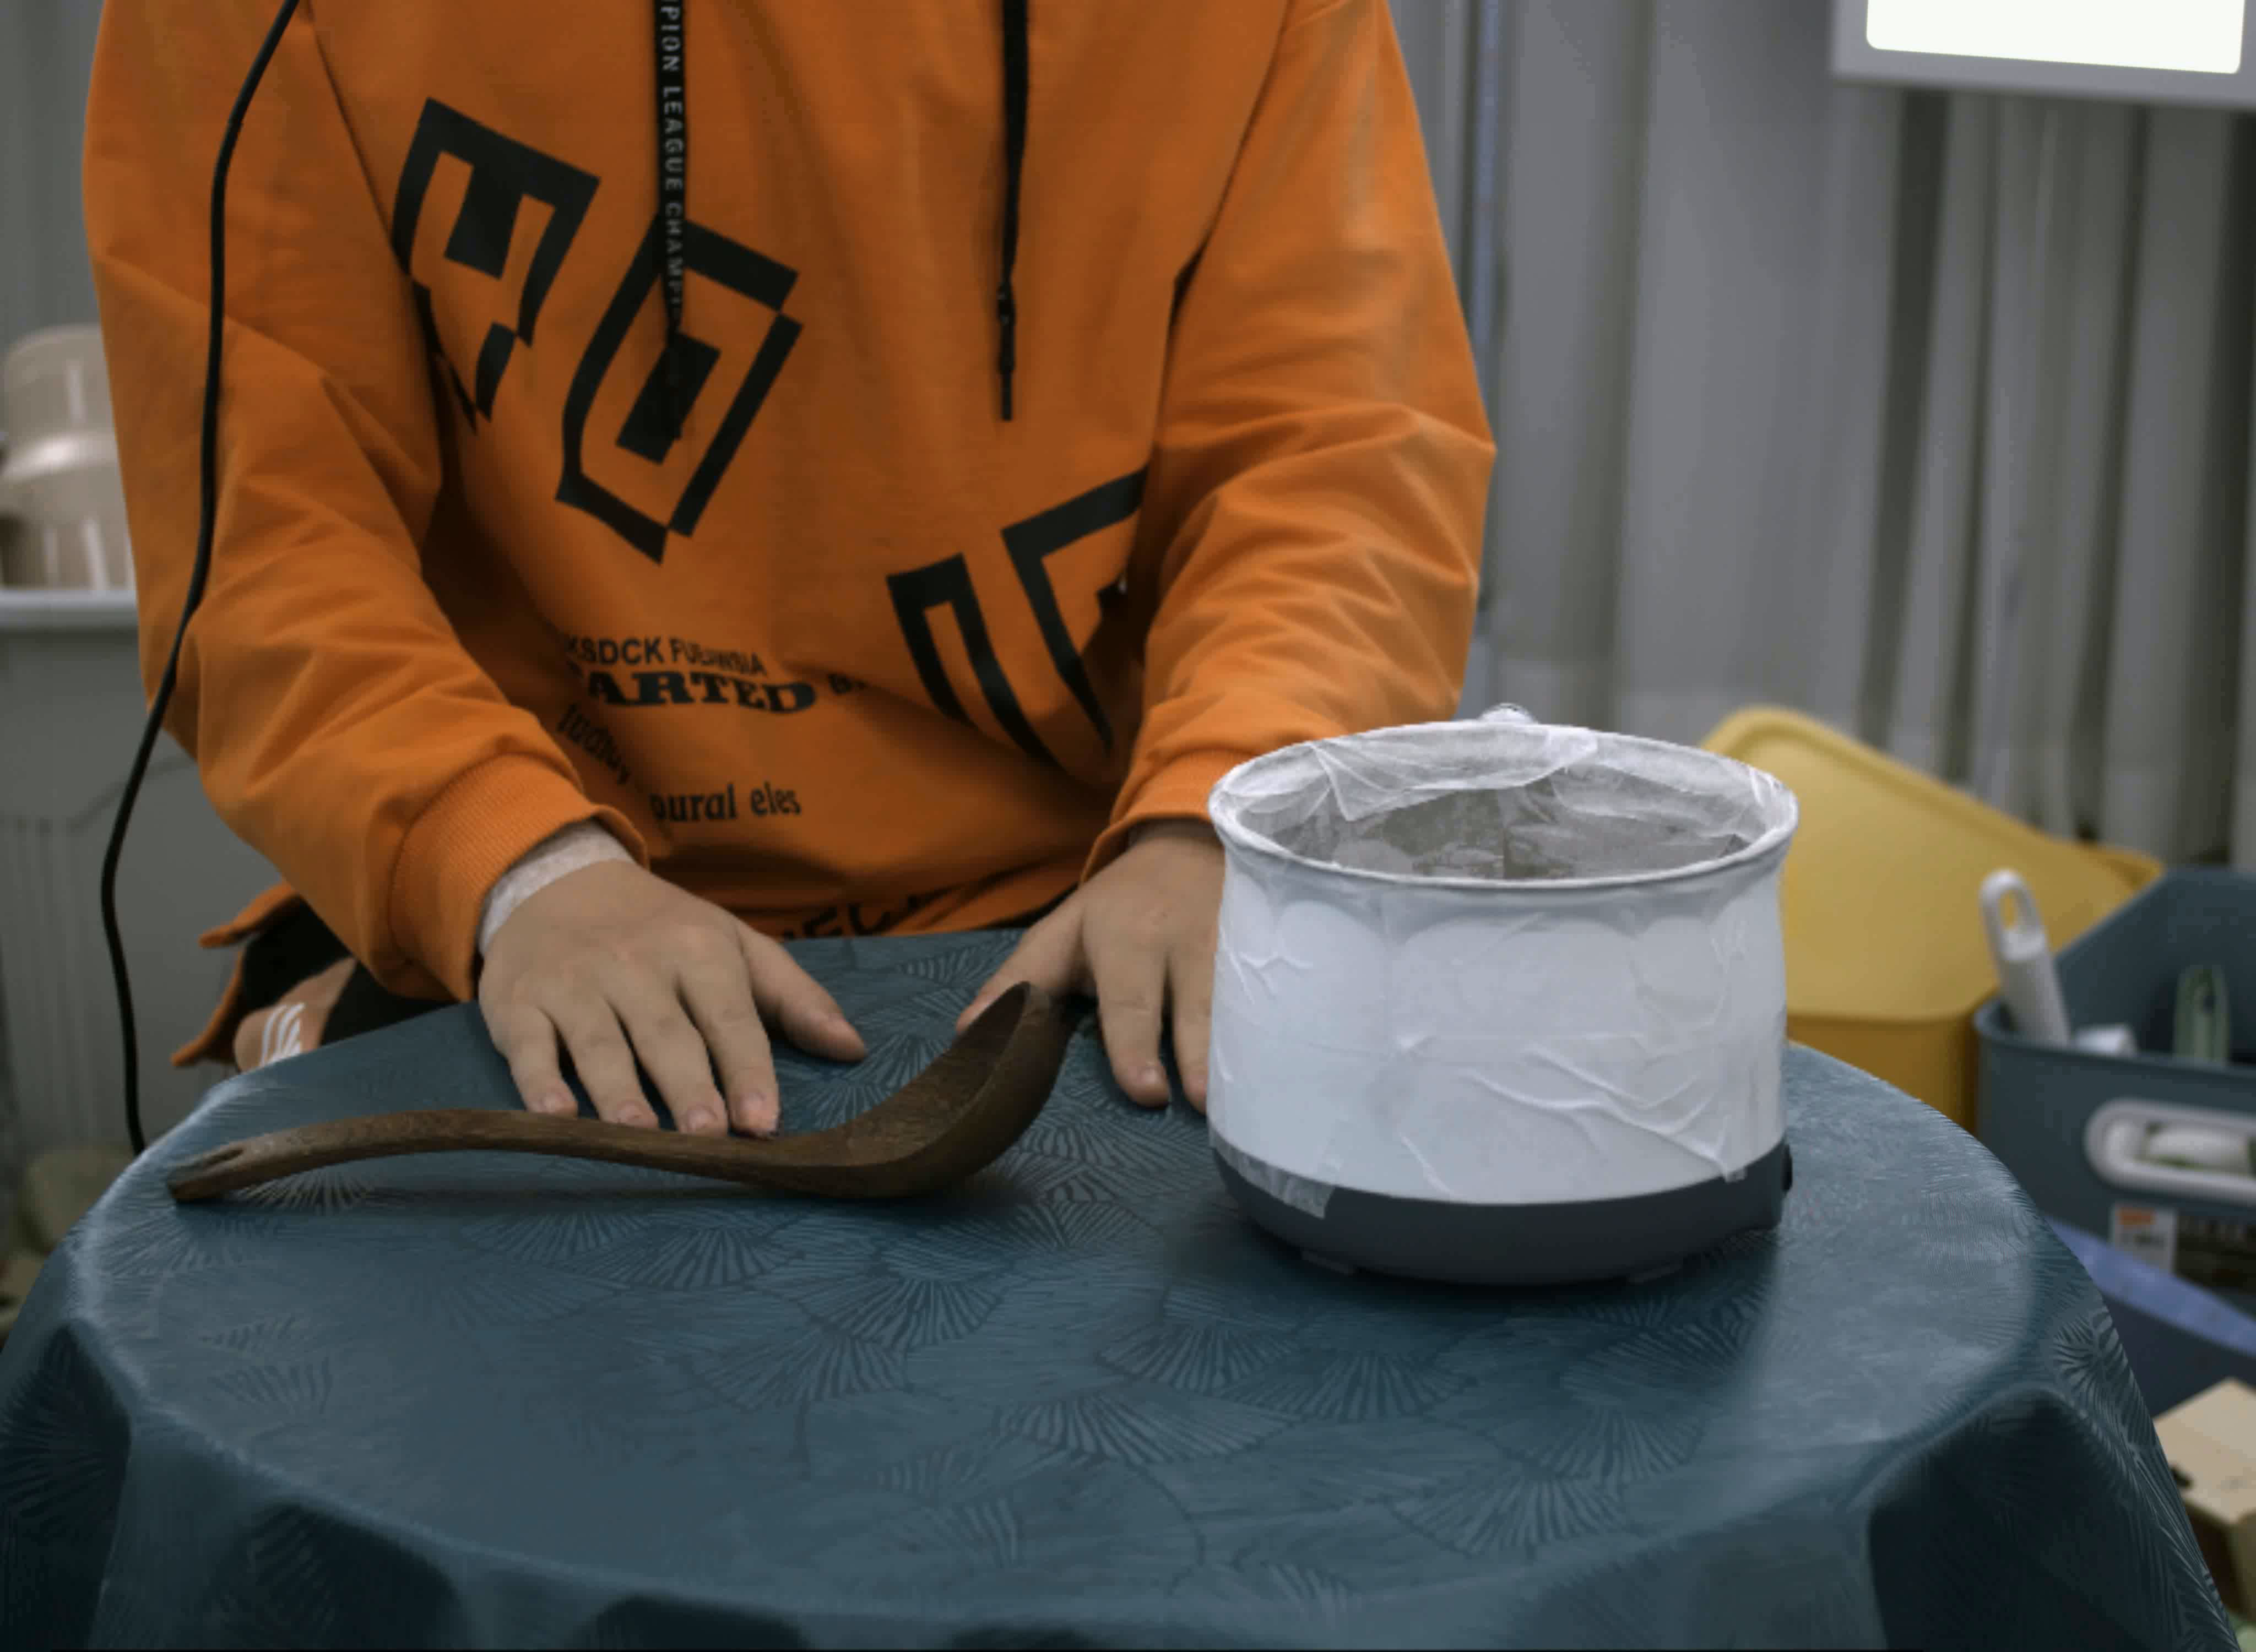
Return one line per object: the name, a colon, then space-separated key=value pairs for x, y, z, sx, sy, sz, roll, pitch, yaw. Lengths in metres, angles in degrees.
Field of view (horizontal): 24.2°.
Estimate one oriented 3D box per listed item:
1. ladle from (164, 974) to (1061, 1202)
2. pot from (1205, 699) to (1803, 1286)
ladle: x=-0.157 y=0.079 z=1.606 sx=0.273 sy=0.072 sz=0.075 roll=1 pitch=13 yaw=-2
pot: x=0.113 y=0.045 z=1.608 sx=0.178 sy=0.138 sz=0.232 roll=2 pitch=16 yaw=2
